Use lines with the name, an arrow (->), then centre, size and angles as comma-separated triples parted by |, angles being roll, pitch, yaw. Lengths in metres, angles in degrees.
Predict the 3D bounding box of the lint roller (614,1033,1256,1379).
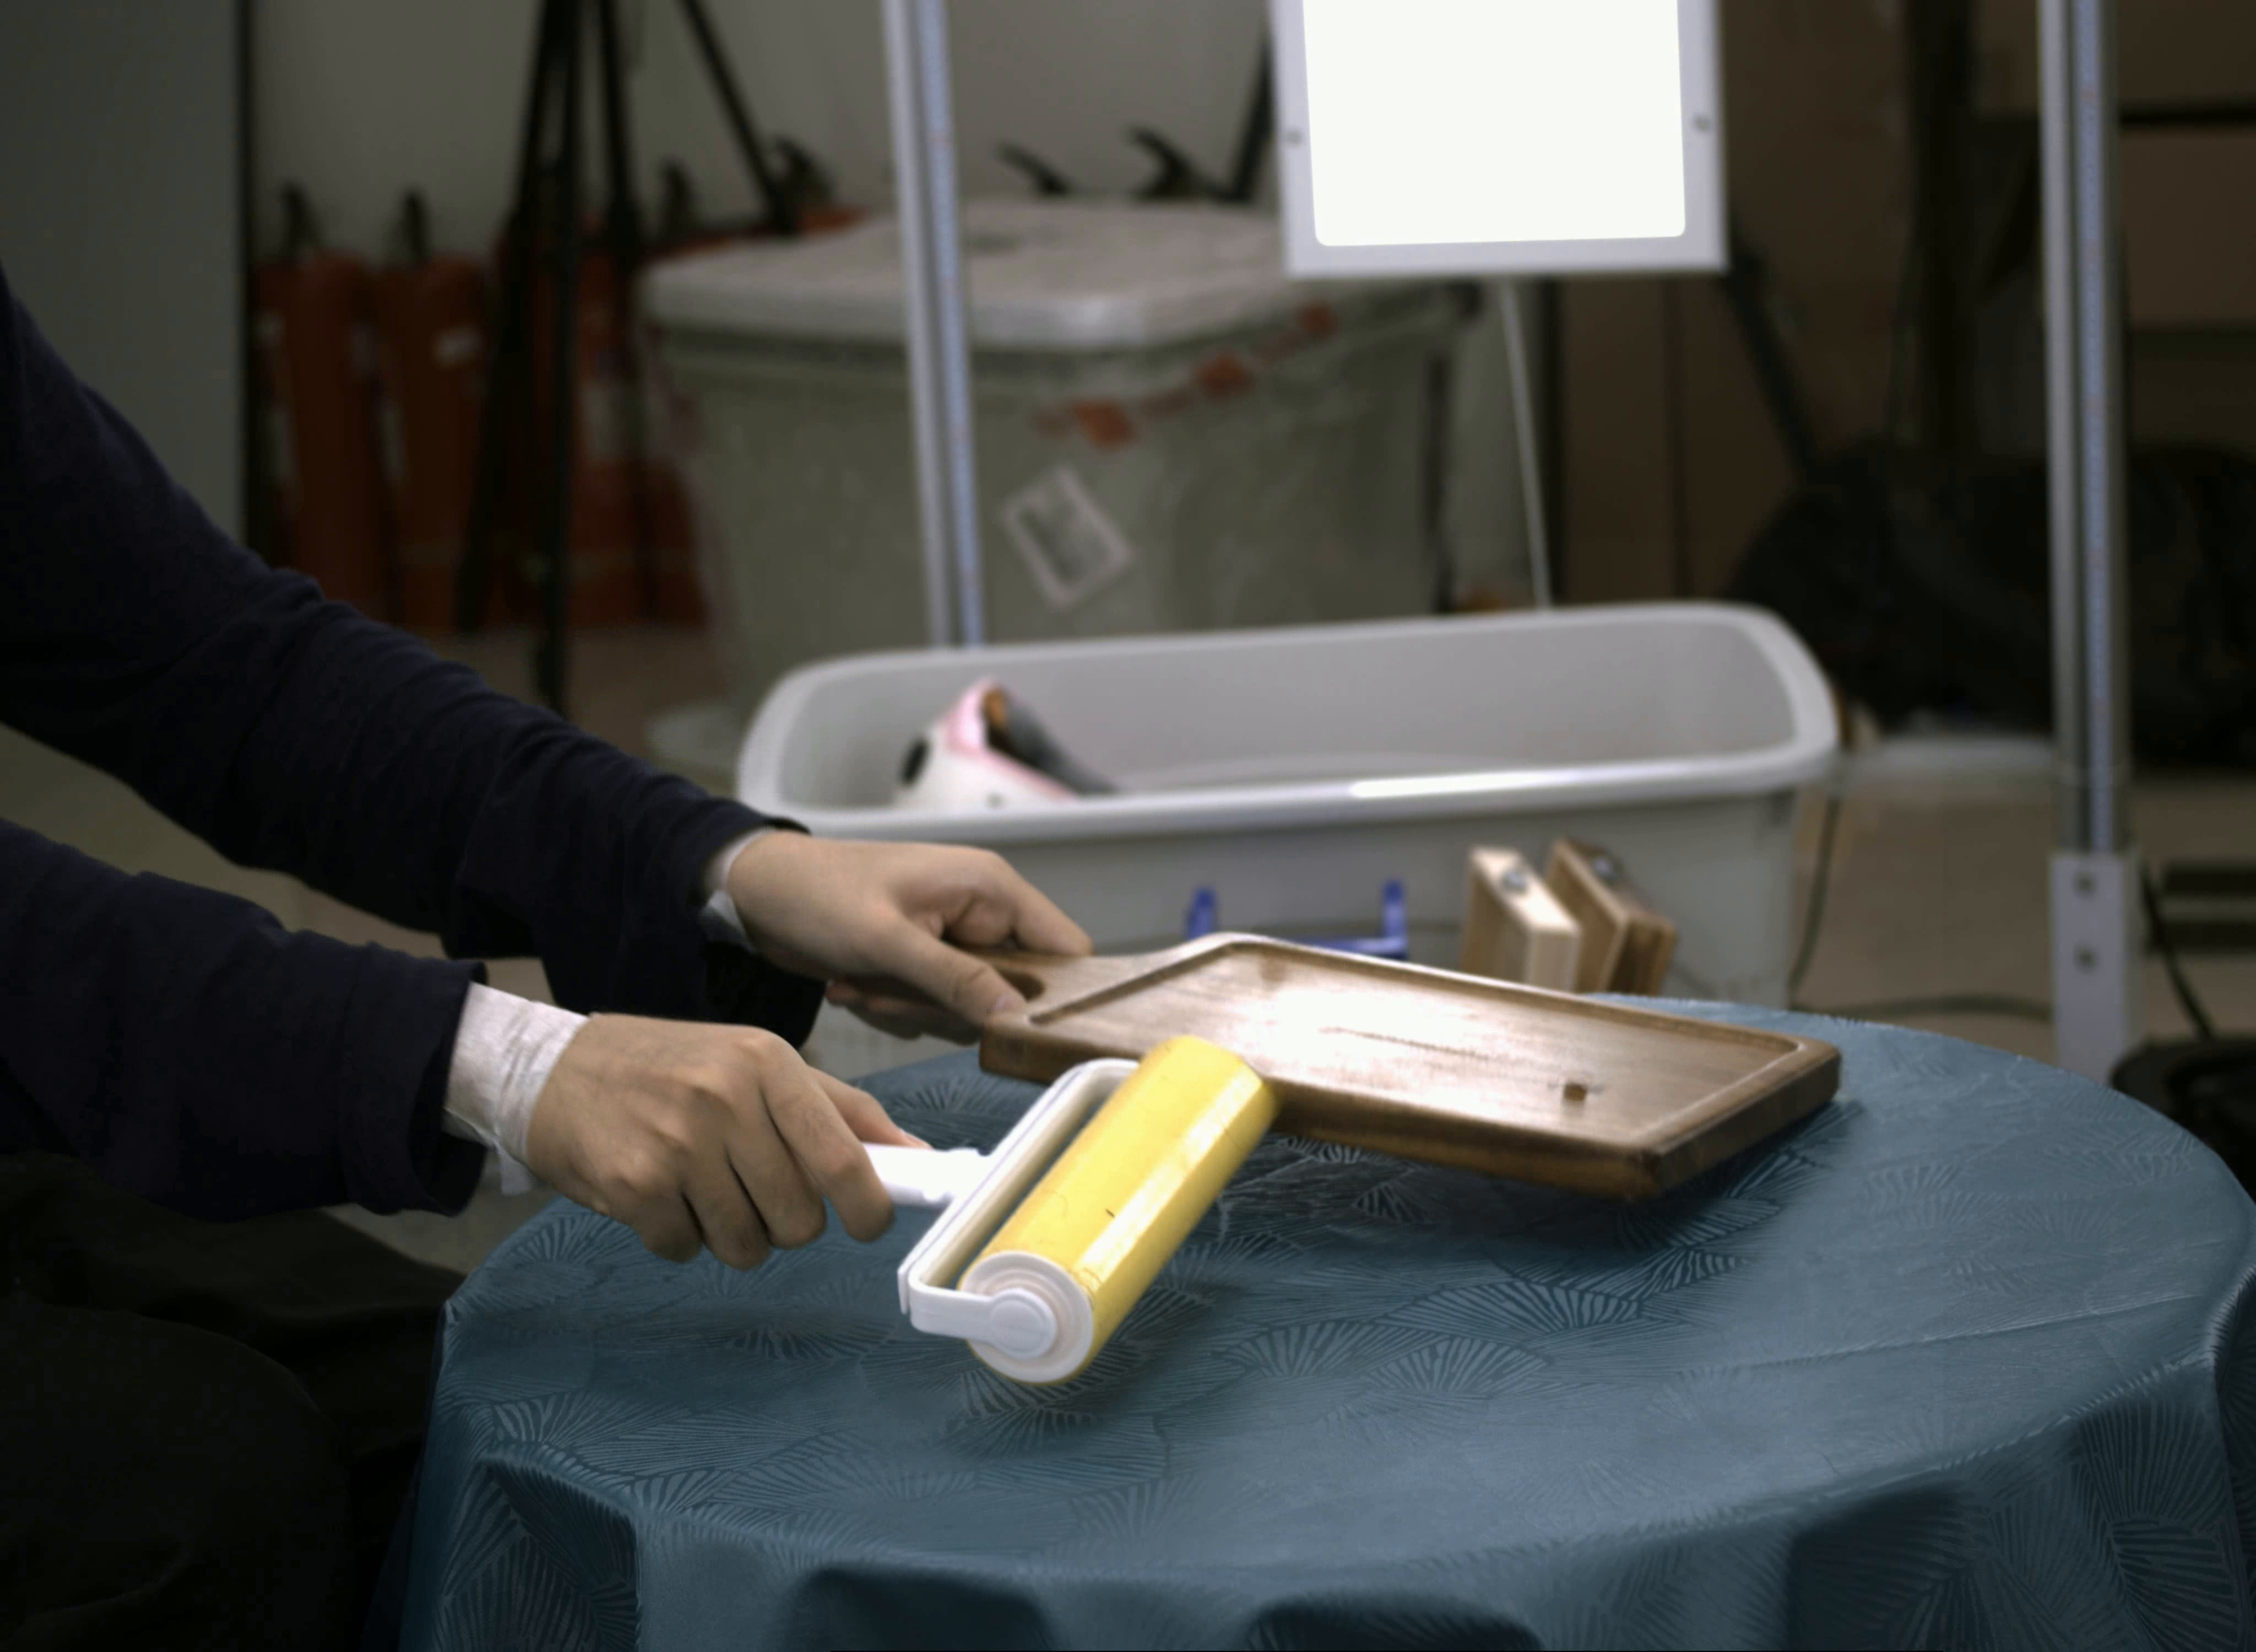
lint roller -> -0.073, 0.104, 1.755 | 0.194, 0.052, 0.171 | 13, 26, 15

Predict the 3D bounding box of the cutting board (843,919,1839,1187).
cutting board -> 0.057, 0.070, 1.933 | 0.358, 0.023, 0.197 | 9, 11, 27
